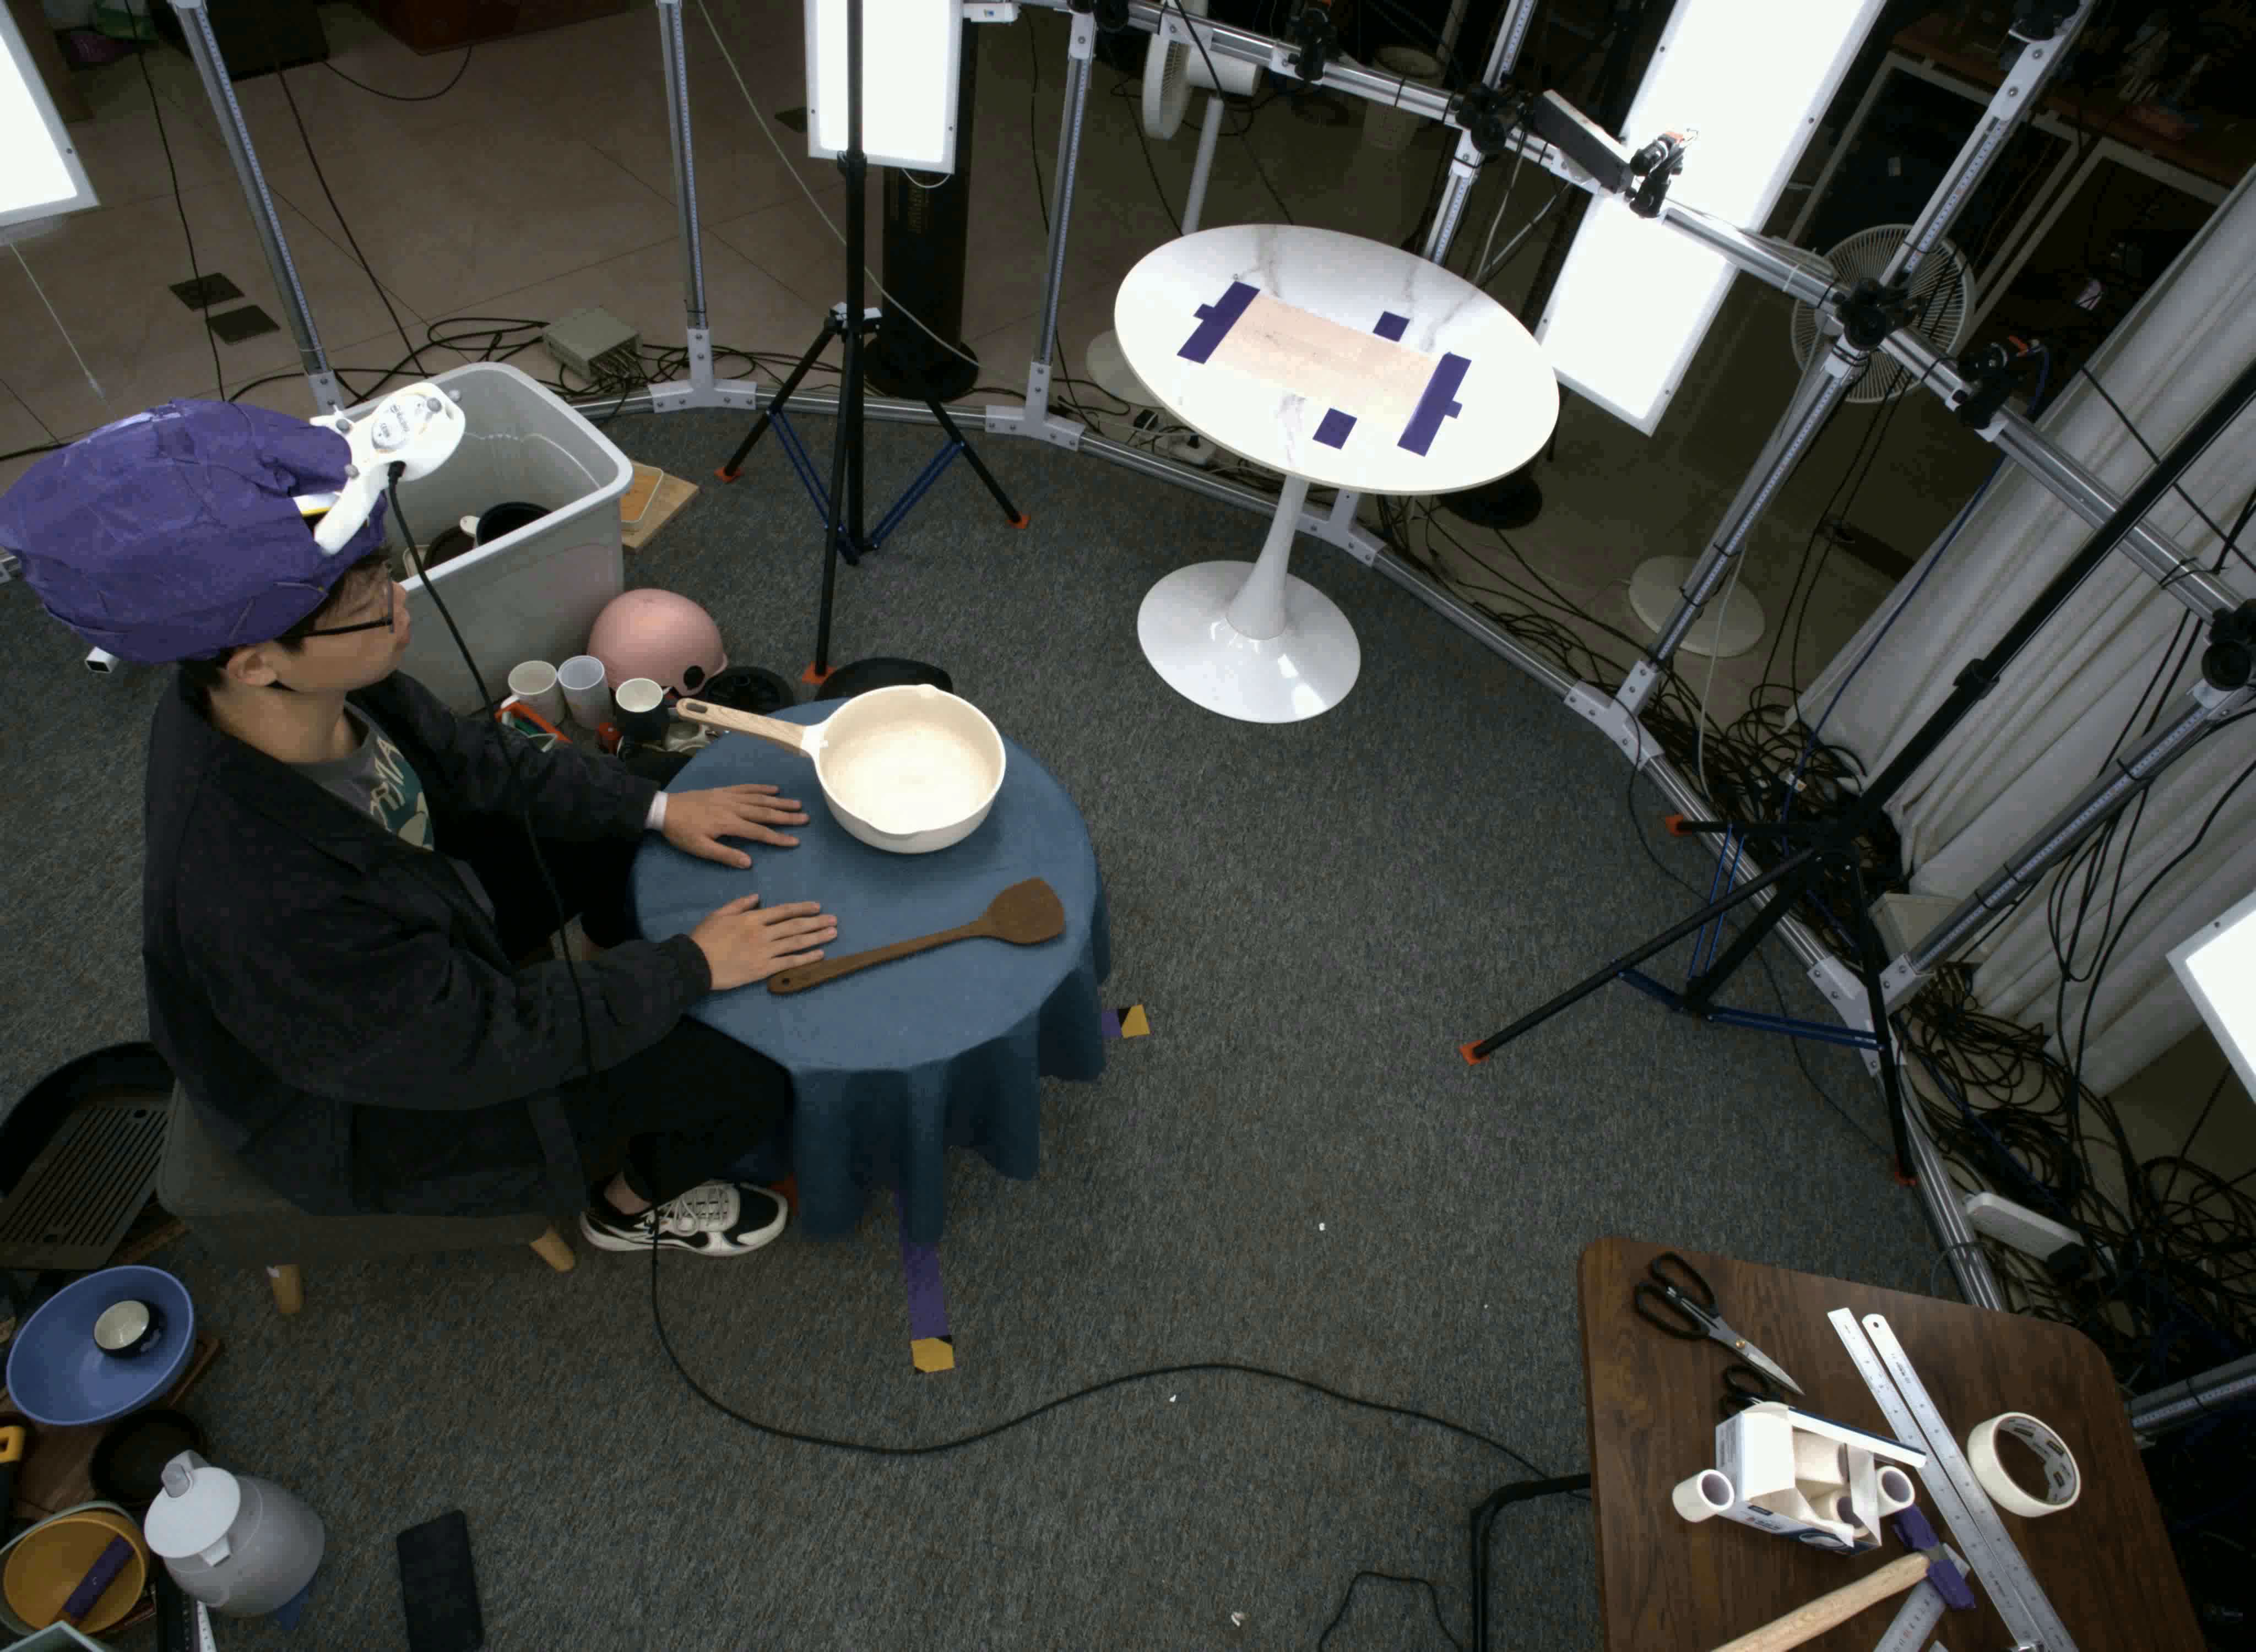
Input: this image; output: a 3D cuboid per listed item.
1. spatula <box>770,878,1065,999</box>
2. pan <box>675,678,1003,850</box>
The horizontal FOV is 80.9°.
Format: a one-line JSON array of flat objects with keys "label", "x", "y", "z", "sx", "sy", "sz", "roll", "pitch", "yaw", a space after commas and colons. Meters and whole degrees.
[{"label": "spatula", "x": -0.263, "y": 0.149, "z": 1.645, "sx": 0.388, "sy": 0.016, "sz": 0.093, "roll": -16, "pitch": 59, "yaw": -23}, {"label": "pan", "x": -0.384, "y": -0.096, "z": 1.740, "sx": 0.433, "sy": 0.104, "sz": 0.259, "roll": 10, "pitch": 54, "yaw": -7}]
